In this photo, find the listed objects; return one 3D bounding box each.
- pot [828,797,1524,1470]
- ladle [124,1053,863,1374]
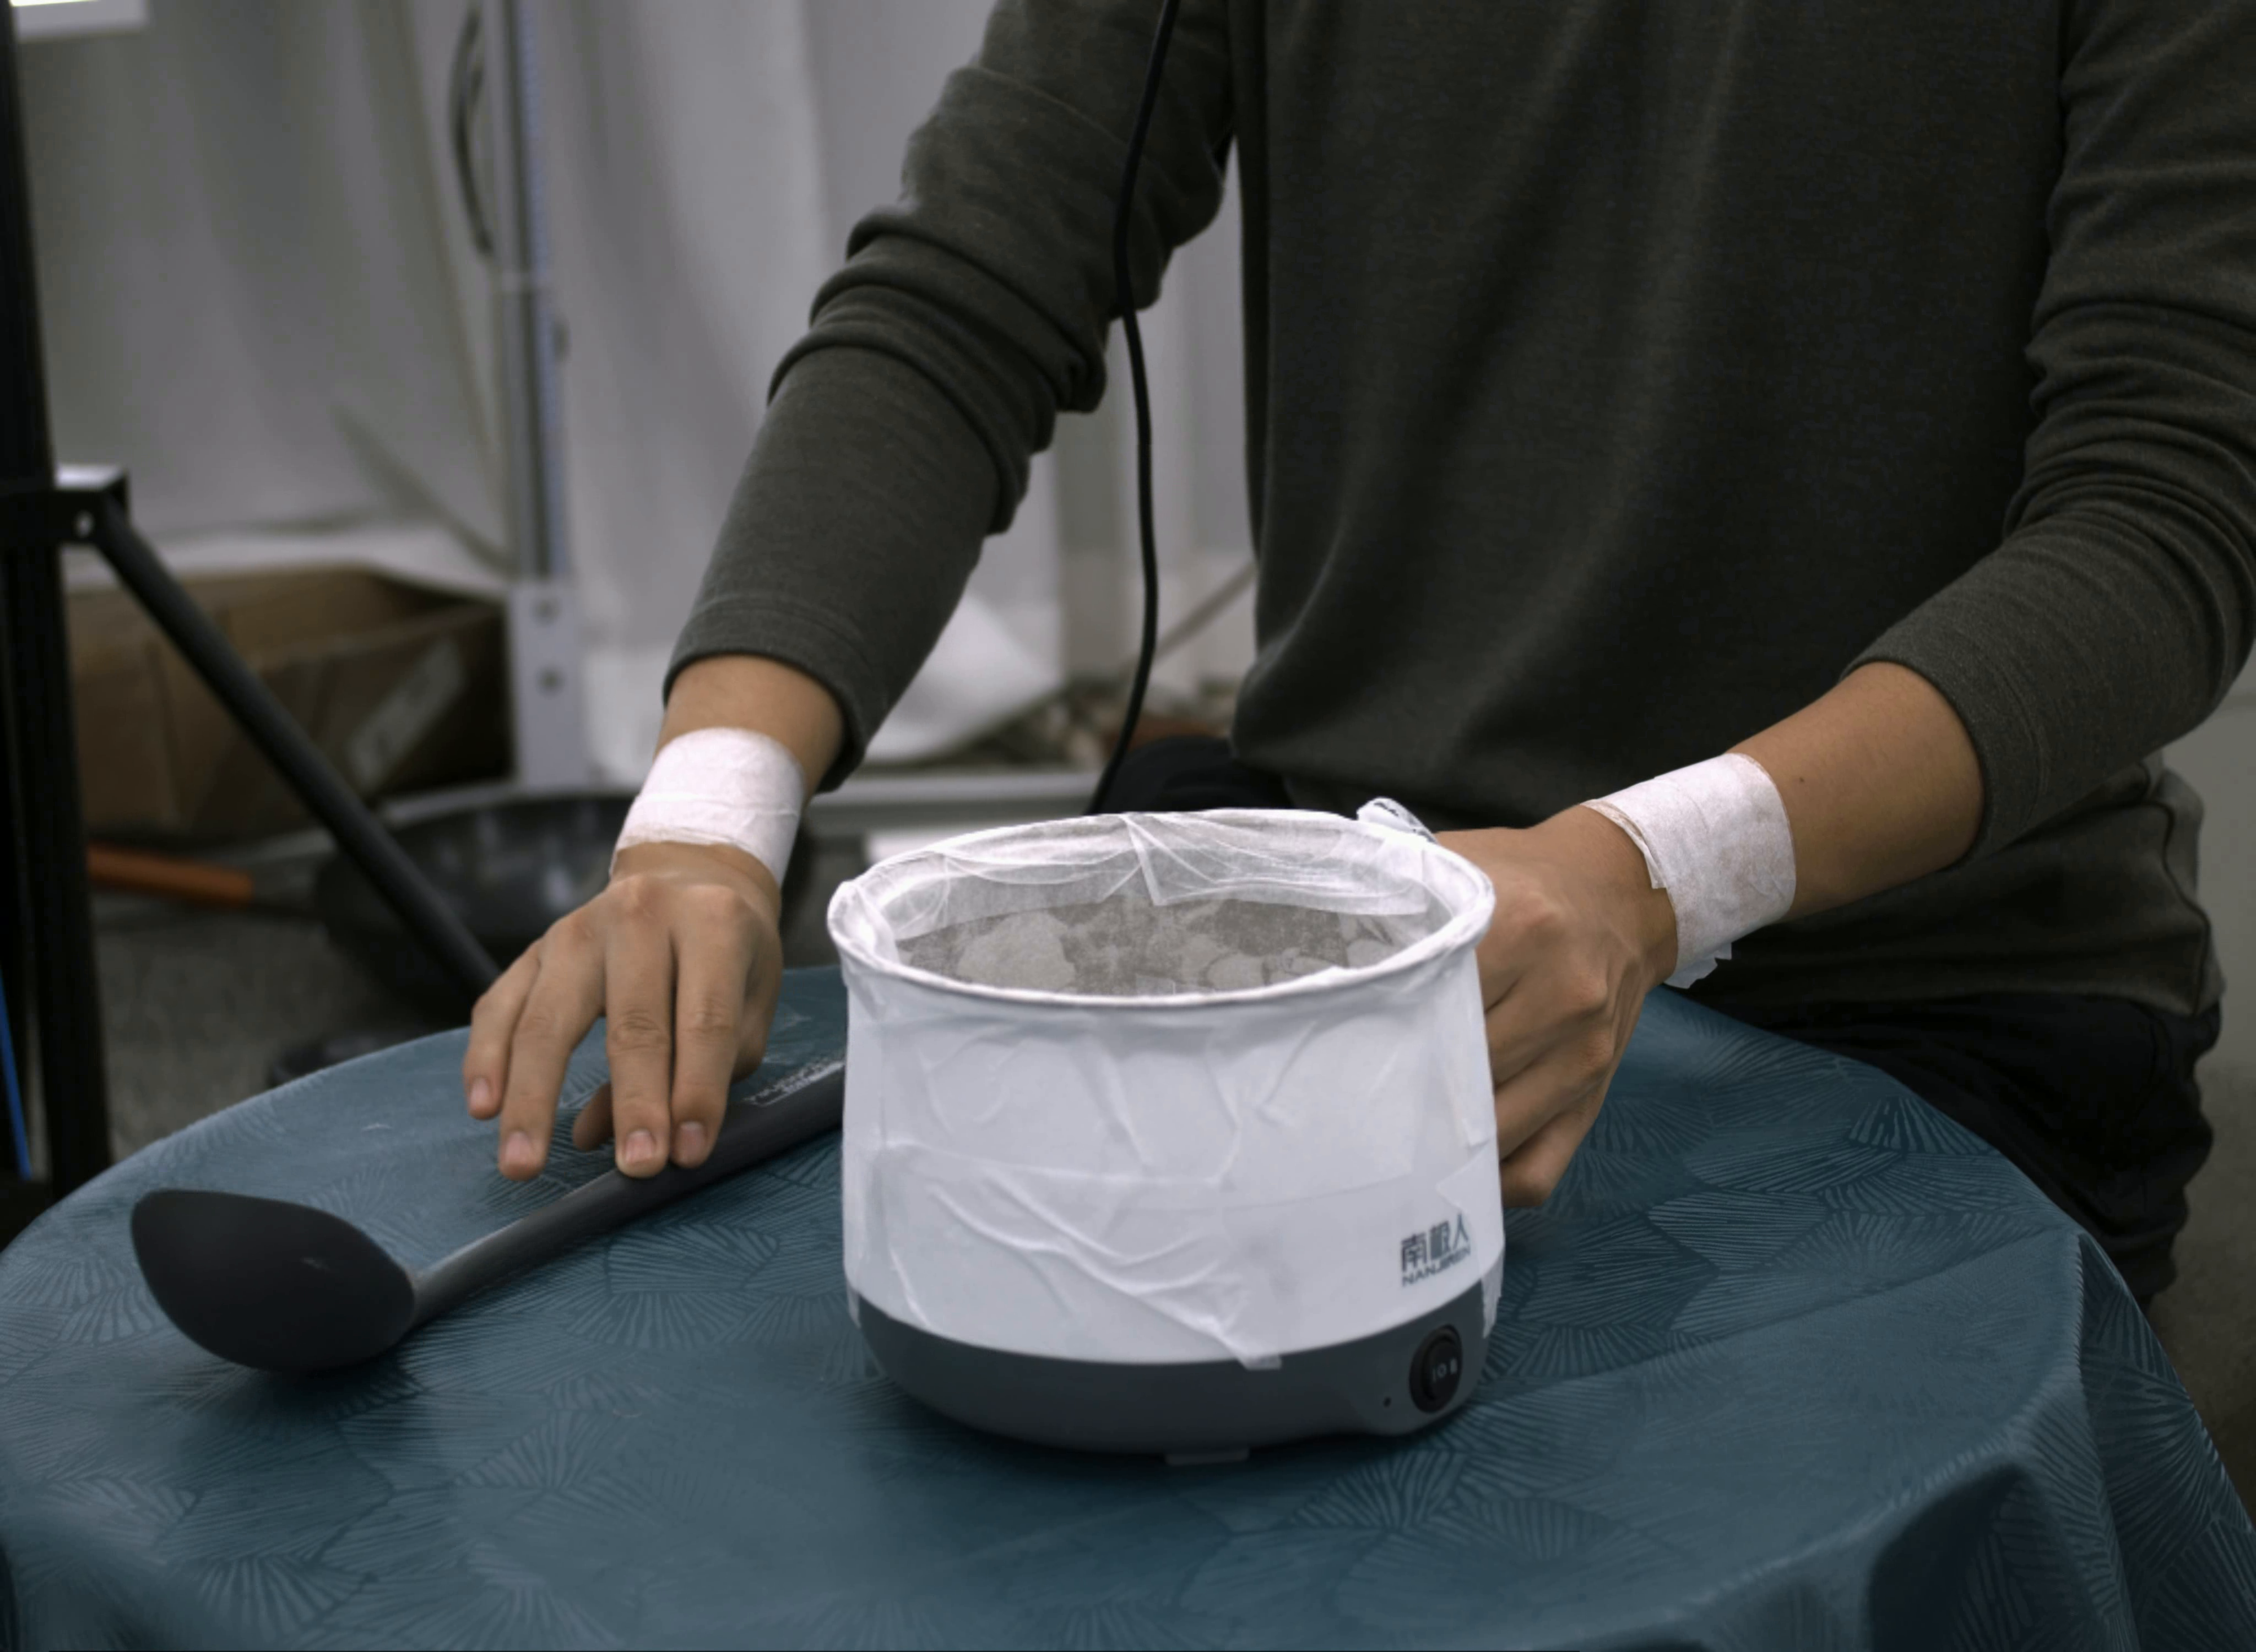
[{"bbox_3d":[0.028,0.074,1.427,0.182,0.136,0.229,10,19,38],"label":"pot"},{"bbox_3d":[-0.161,0.091,1.533,0.088,0.064,0.308,11,20,32],"label":"ladle"}]
